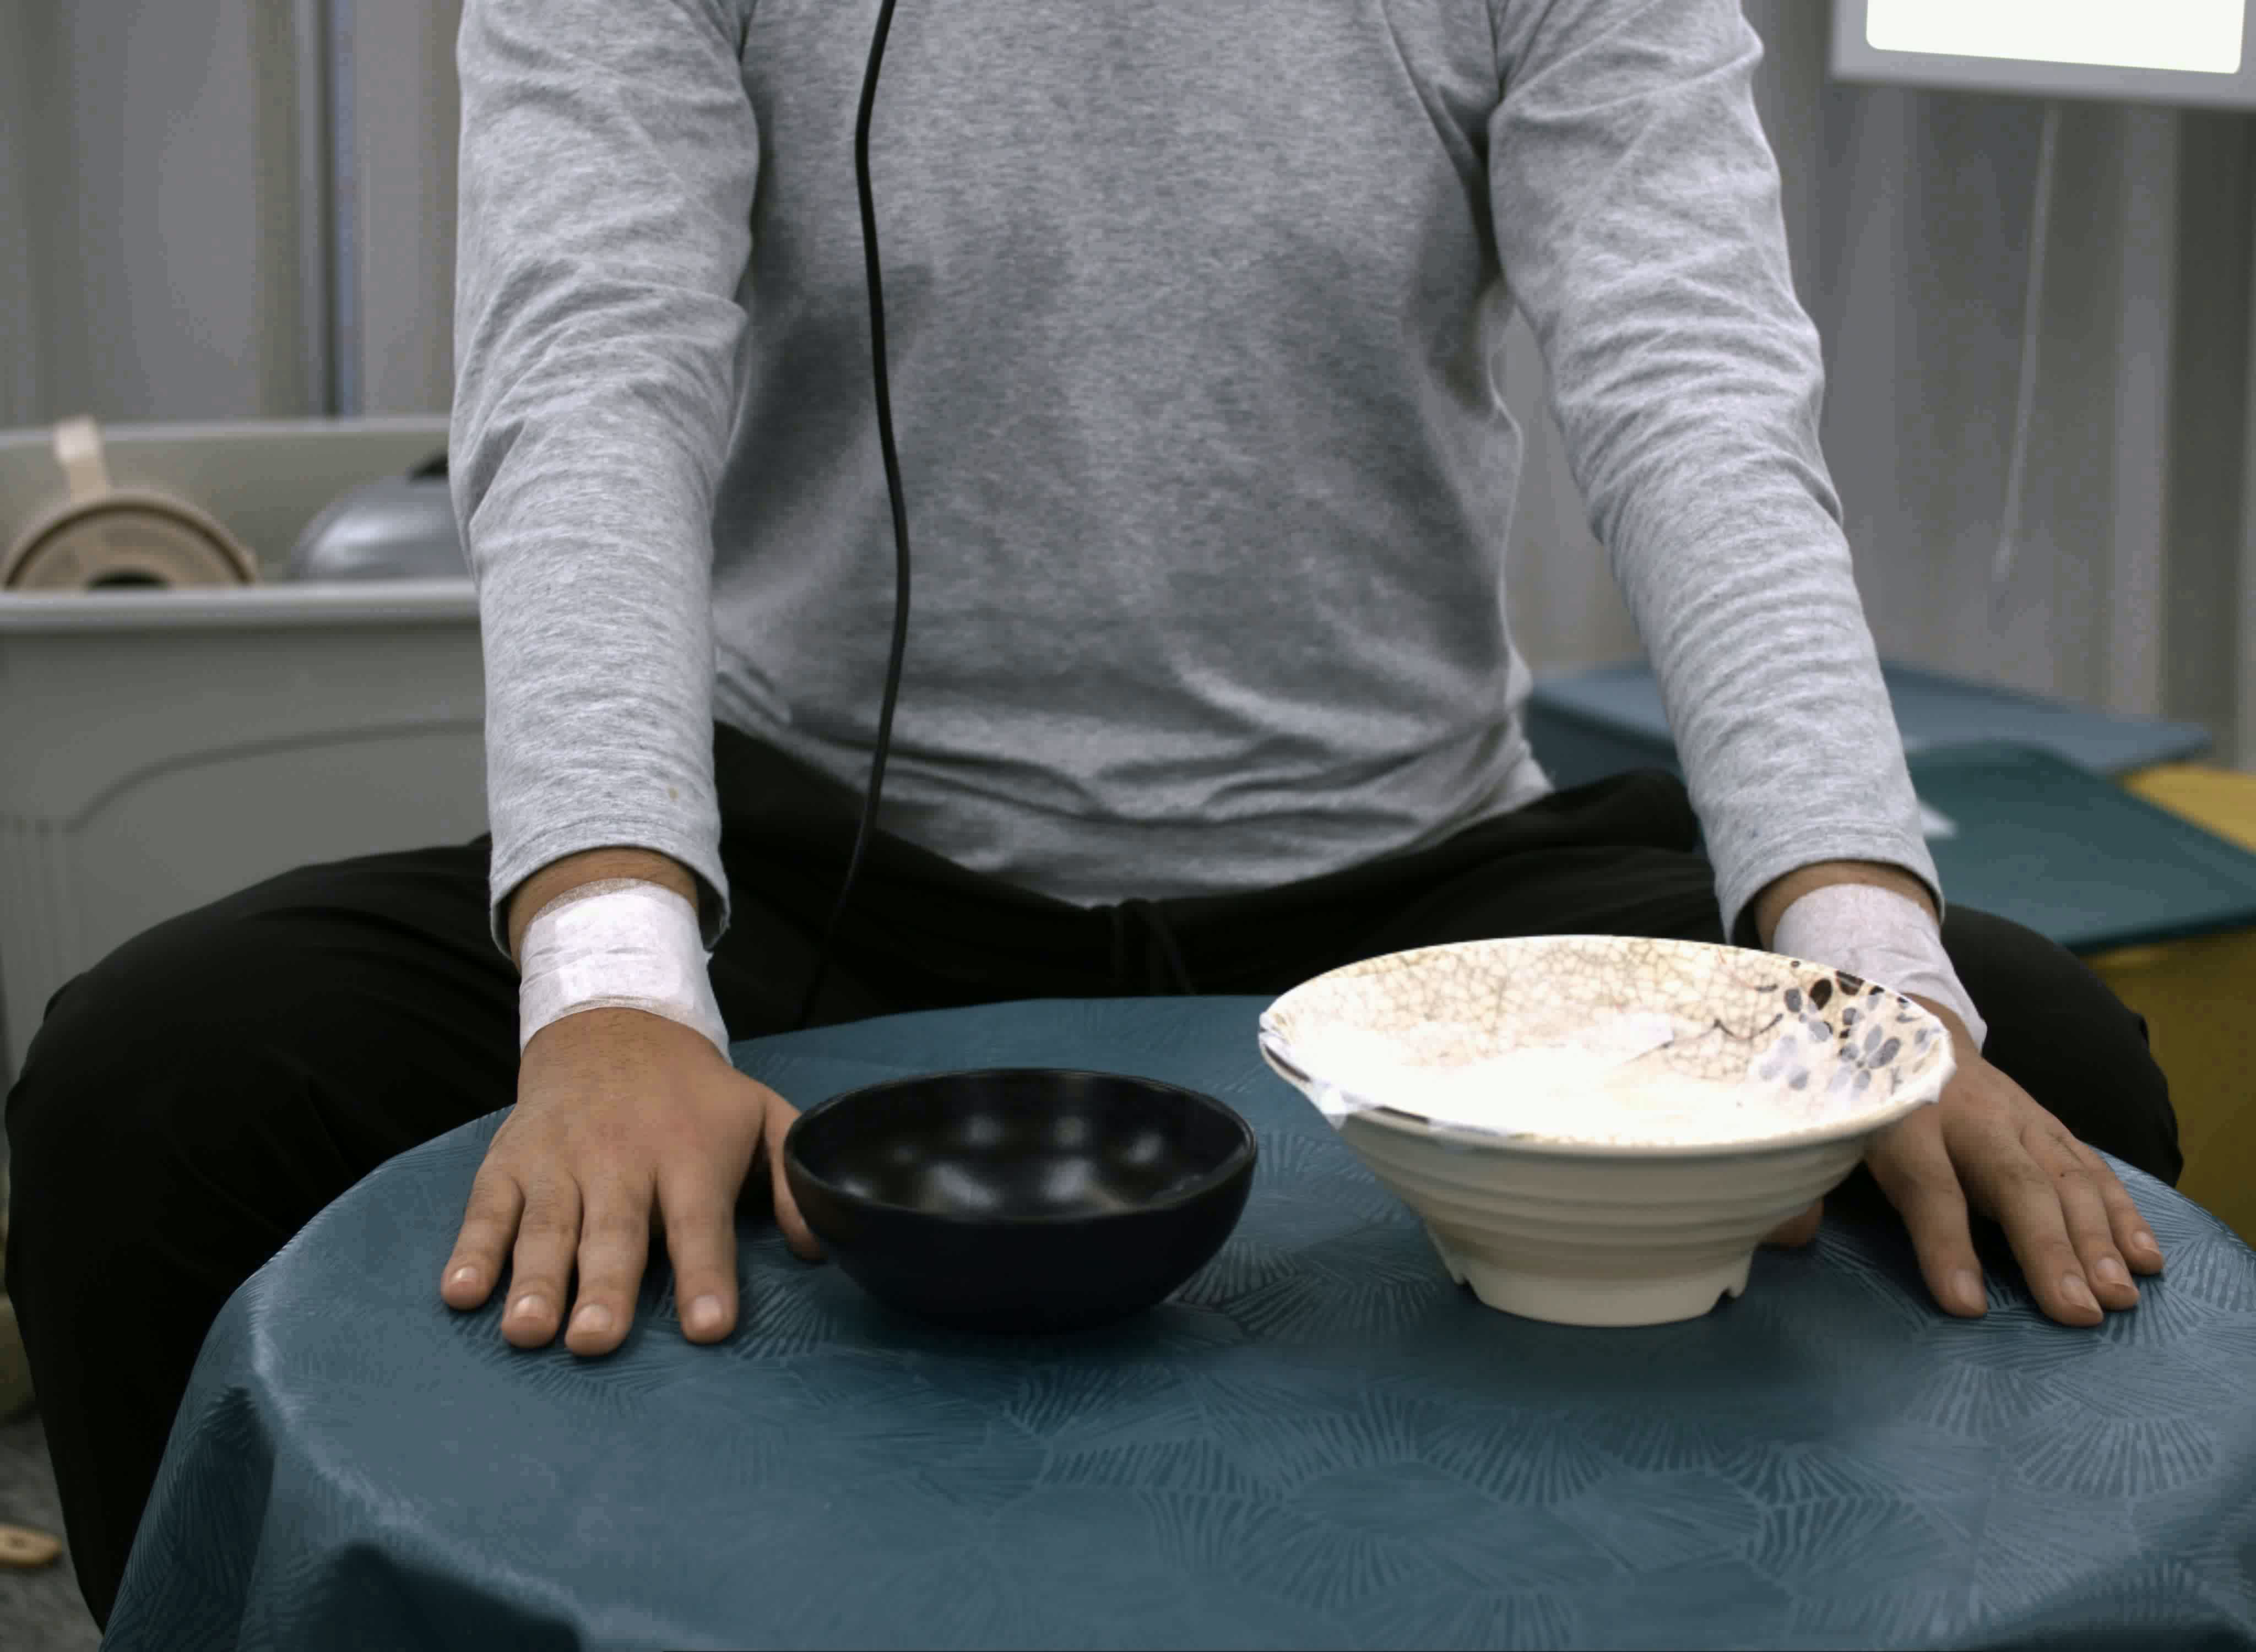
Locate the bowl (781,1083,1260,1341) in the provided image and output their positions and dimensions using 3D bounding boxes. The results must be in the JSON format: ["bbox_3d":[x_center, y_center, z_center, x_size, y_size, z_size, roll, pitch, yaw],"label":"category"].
[{"bbox_3d":[-0.032,0.116,1.528,0.139,0.050,0.139,2,12,0],"label":"bowl"}]

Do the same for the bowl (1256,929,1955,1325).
[{"bbox_3d":[0.138,0.095,1.543,0.203,0.078,0.203,1,15,0],"label":"bowl"}]
